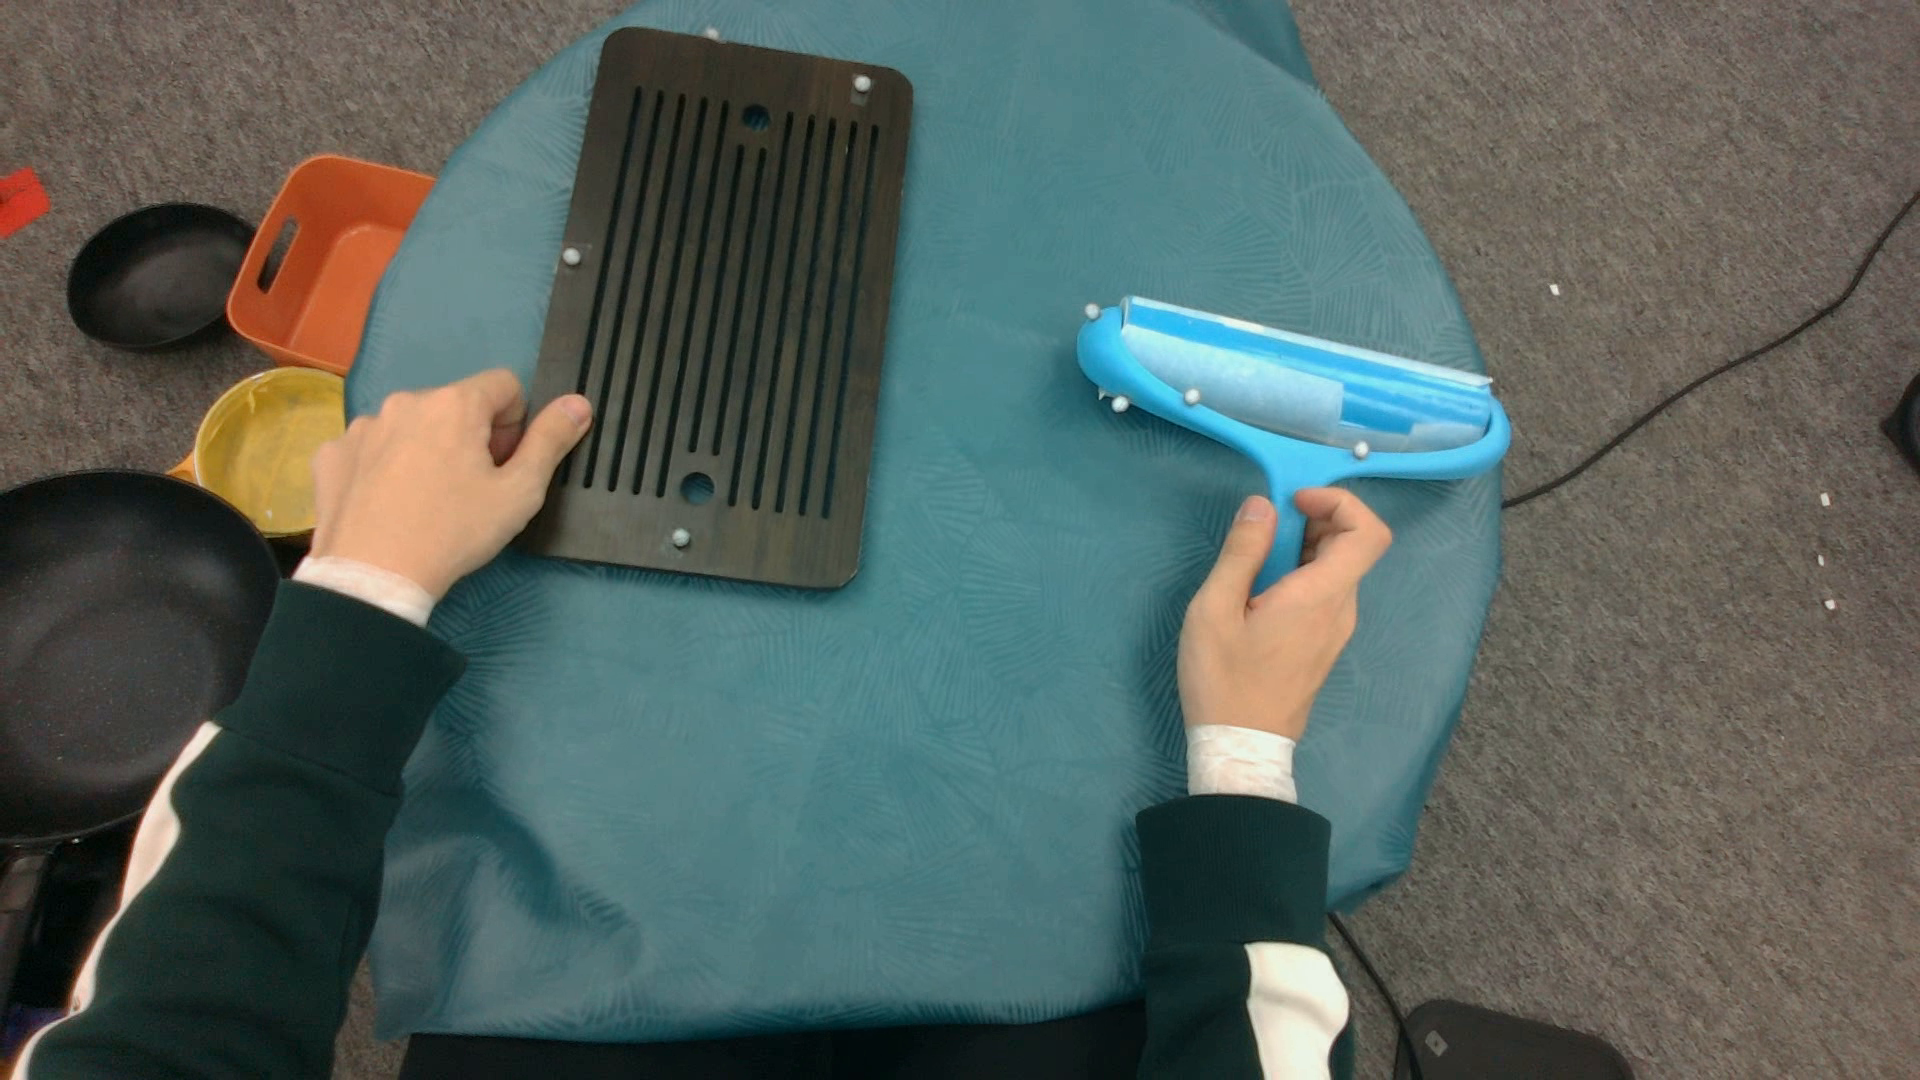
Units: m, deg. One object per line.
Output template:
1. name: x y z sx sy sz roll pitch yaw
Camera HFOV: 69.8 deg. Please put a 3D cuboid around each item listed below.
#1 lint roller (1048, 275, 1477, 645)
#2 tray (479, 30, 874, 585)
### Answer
1. lint roller: 0.153 -0.040 0.702 0.229 0.067 0.181 9 69 -7
2. tray: -0.139 -0.127 0.715 0.170 0.018 0.307 5 70 -6
